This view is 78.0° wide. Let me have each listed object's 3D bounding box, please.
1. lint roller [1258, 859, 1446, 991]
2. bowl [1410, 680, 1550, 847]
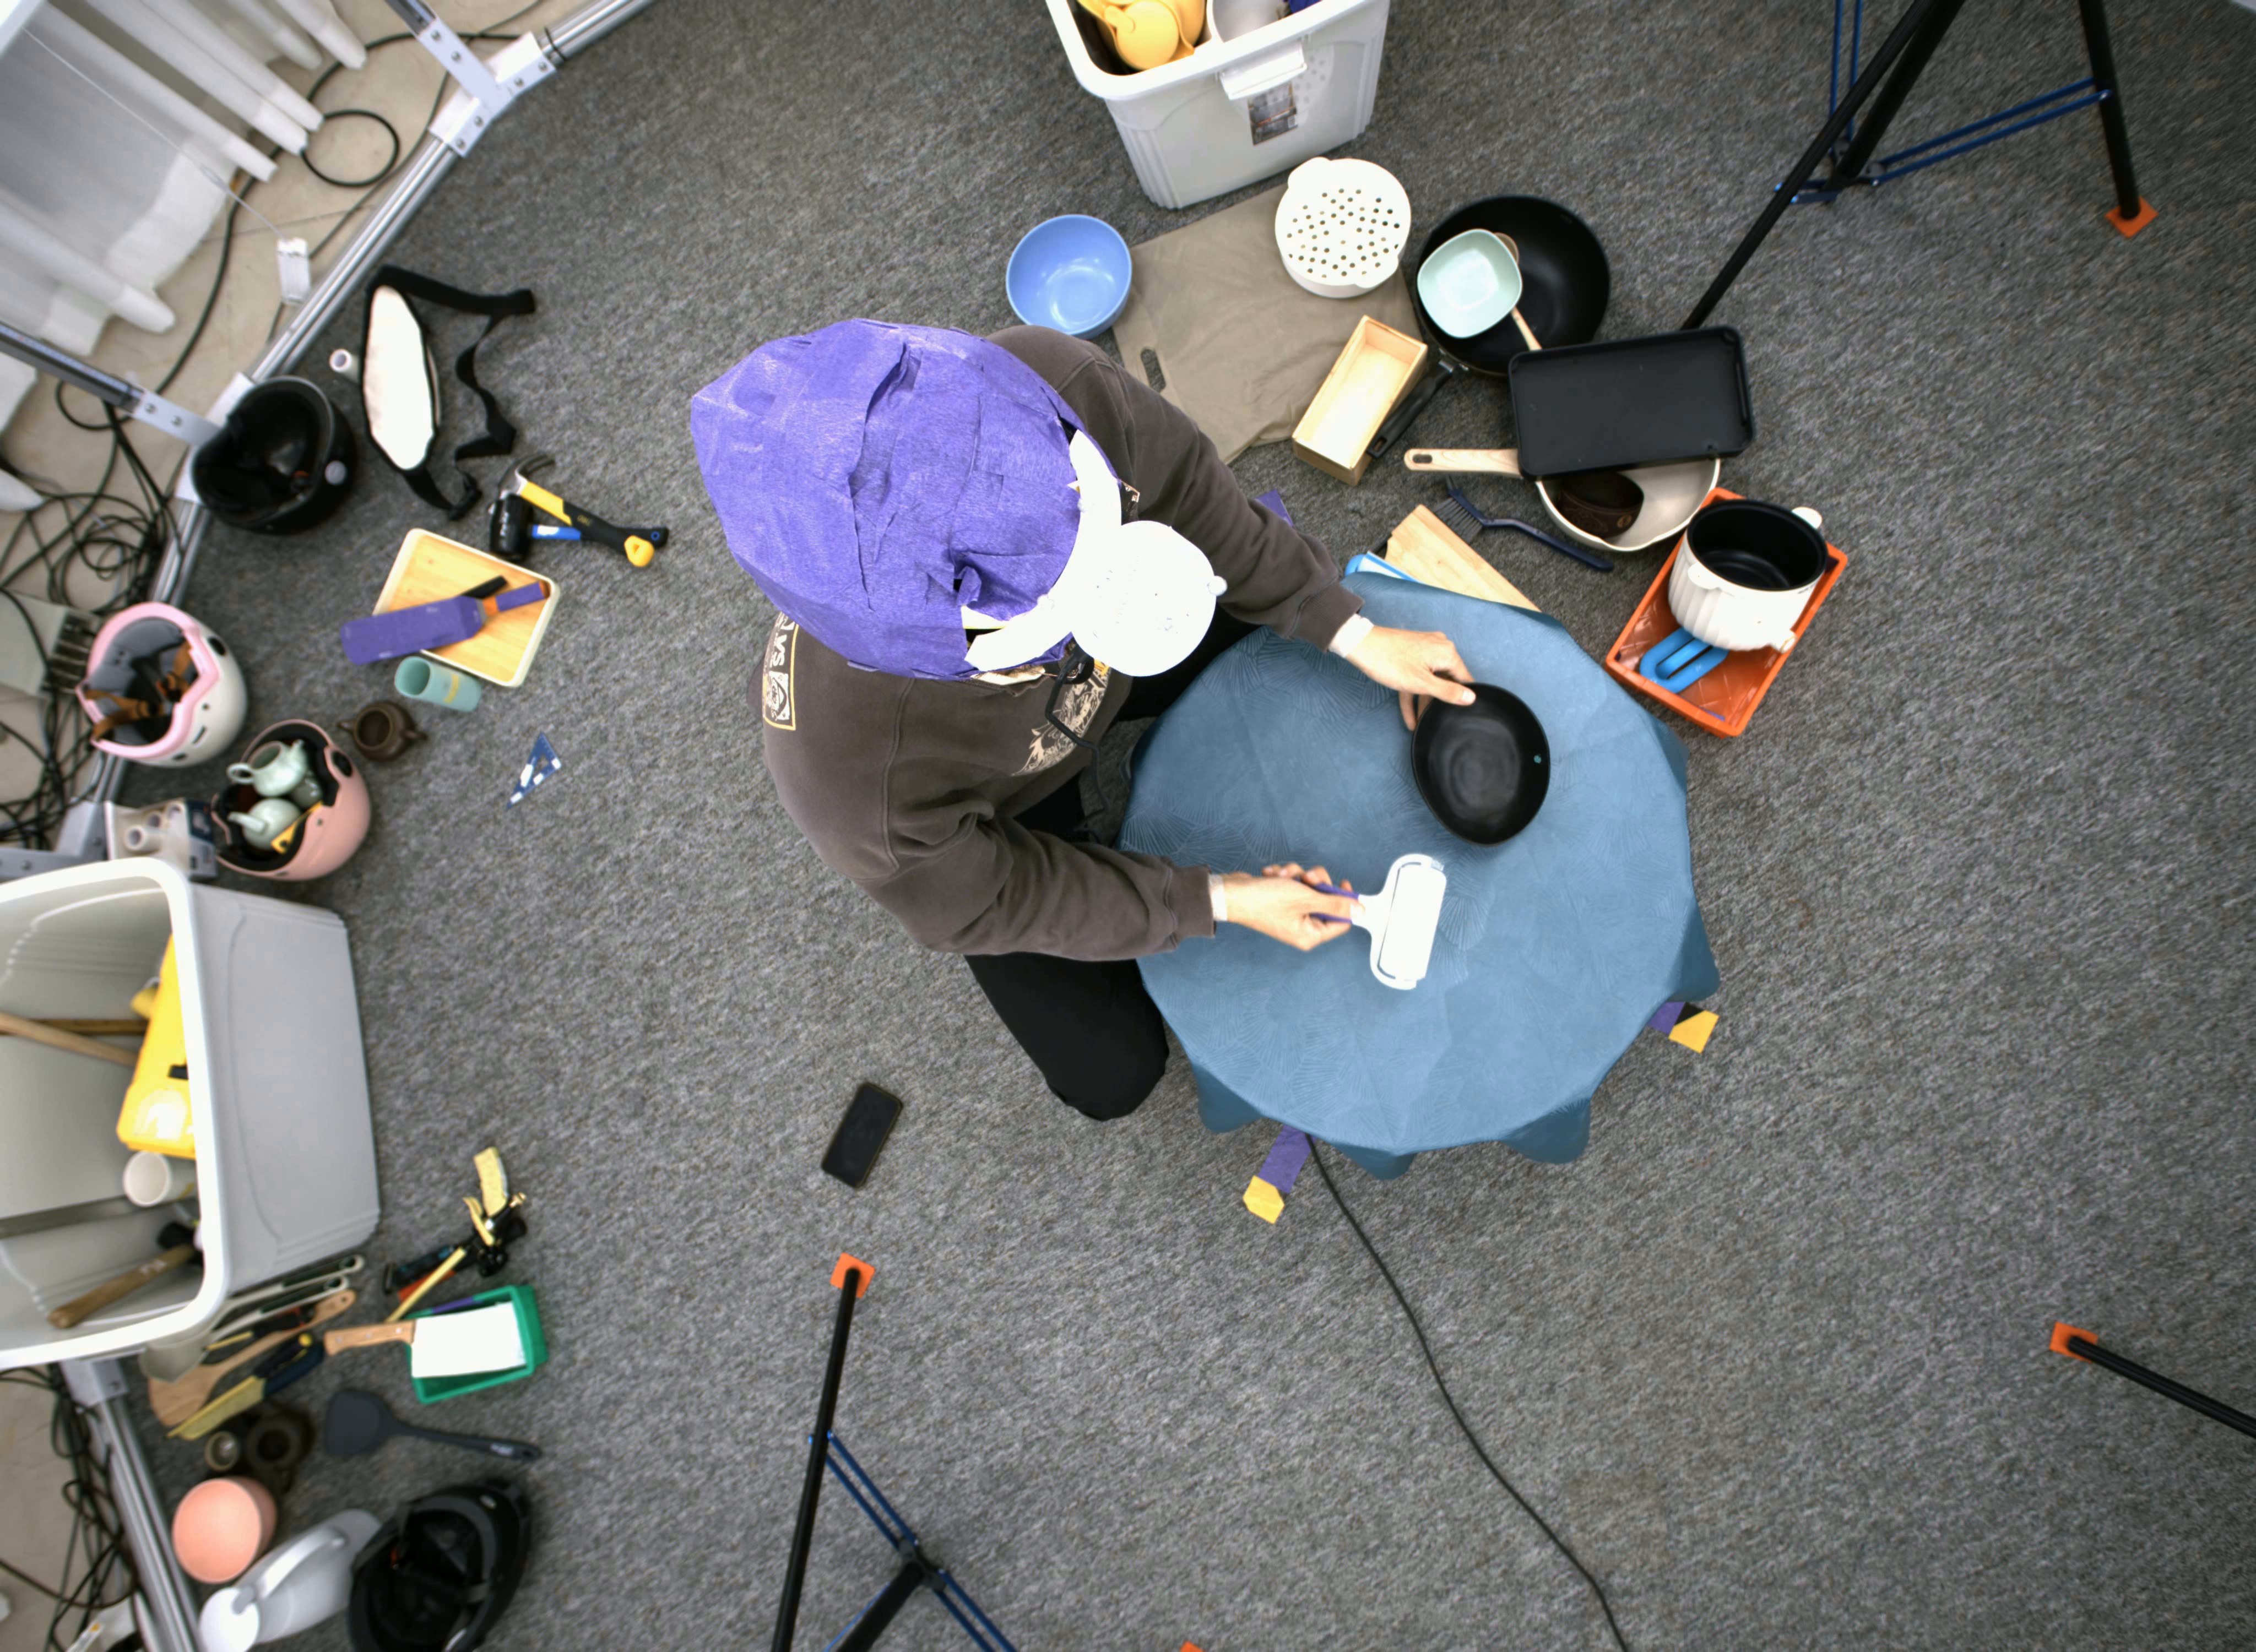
[{"bbox_3d":[0.220,0.081,1.377,0.181,0.050,0.133,15,92,-1],"label":"lint roller"},{"bbox_3d":[0.362,-0.065,1.415,0.138,0.066,0.169,-12,86,11],"label":"bowl"}]
